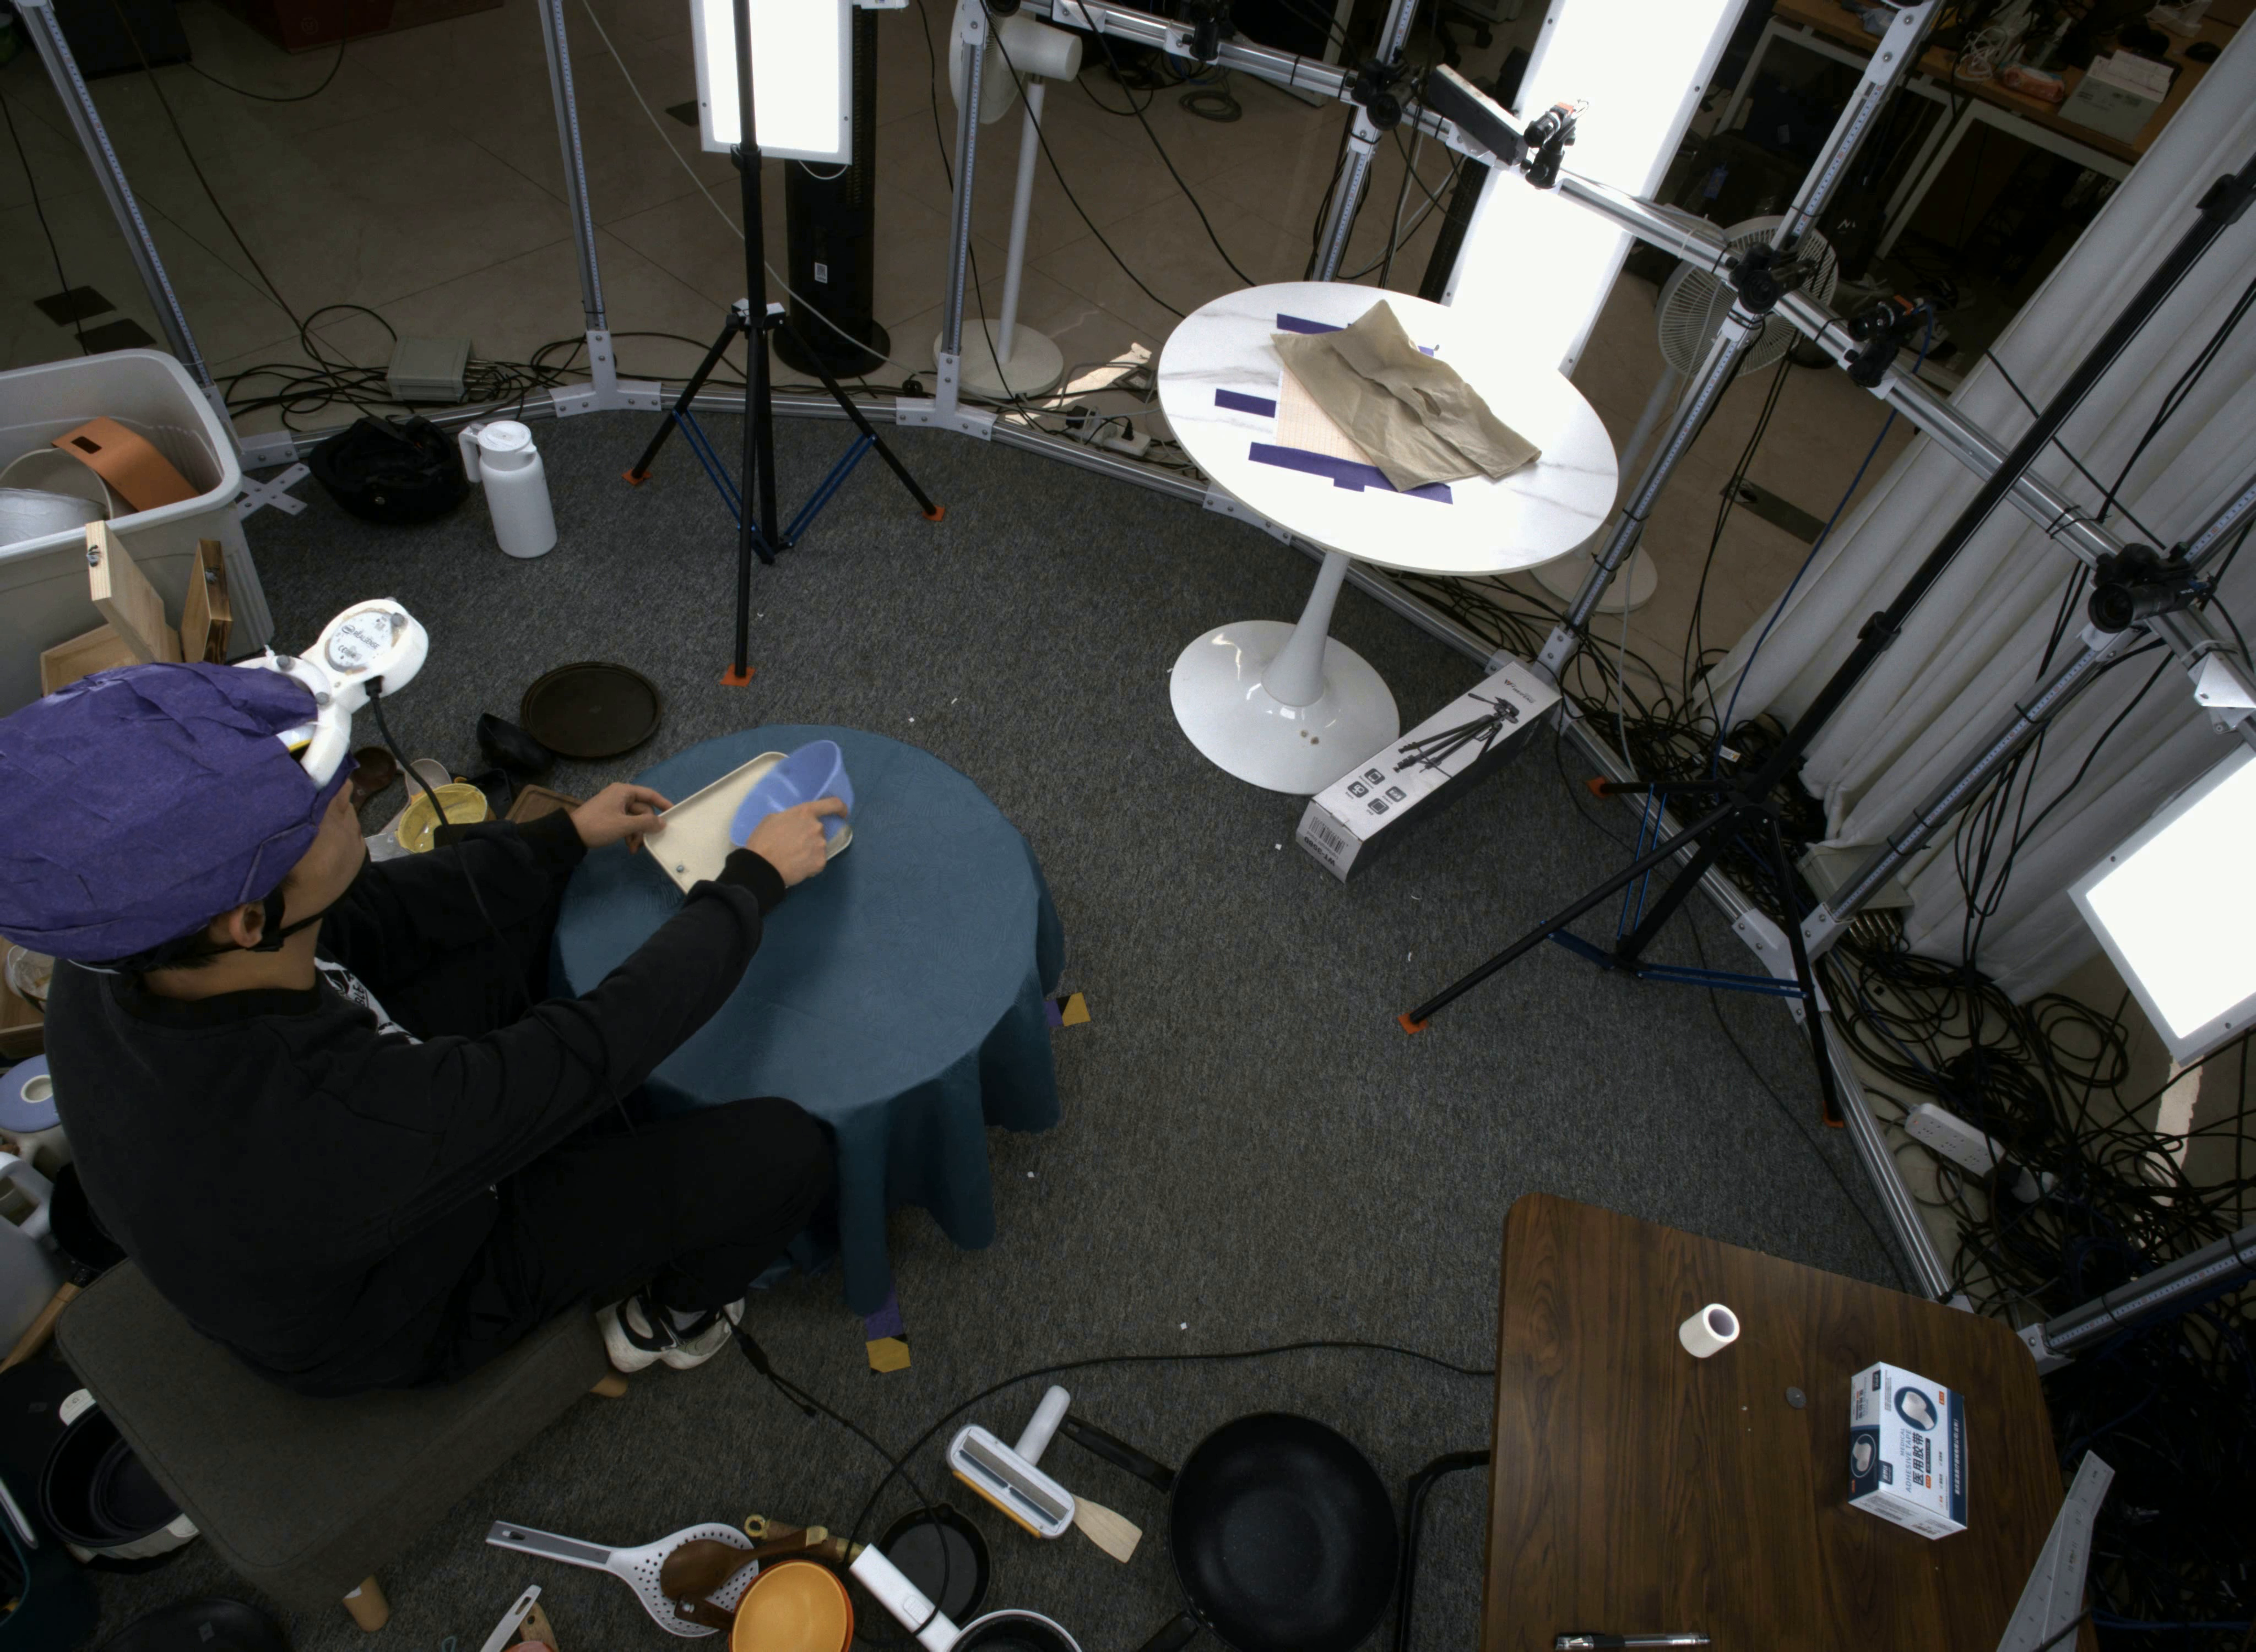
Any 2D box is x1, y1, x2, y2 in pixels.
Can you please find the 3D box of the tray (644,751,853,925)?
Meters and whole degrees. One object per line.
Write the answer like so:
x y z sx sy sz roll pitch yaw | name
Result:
-0.485 0.012 1.661 0.171 0.017 0.240 47 51 3 | tray

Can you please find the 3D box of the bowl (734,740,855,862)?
-0.409 -0.022 1.631 0.073 0.173 0.172 50 25 -31 | bowl
